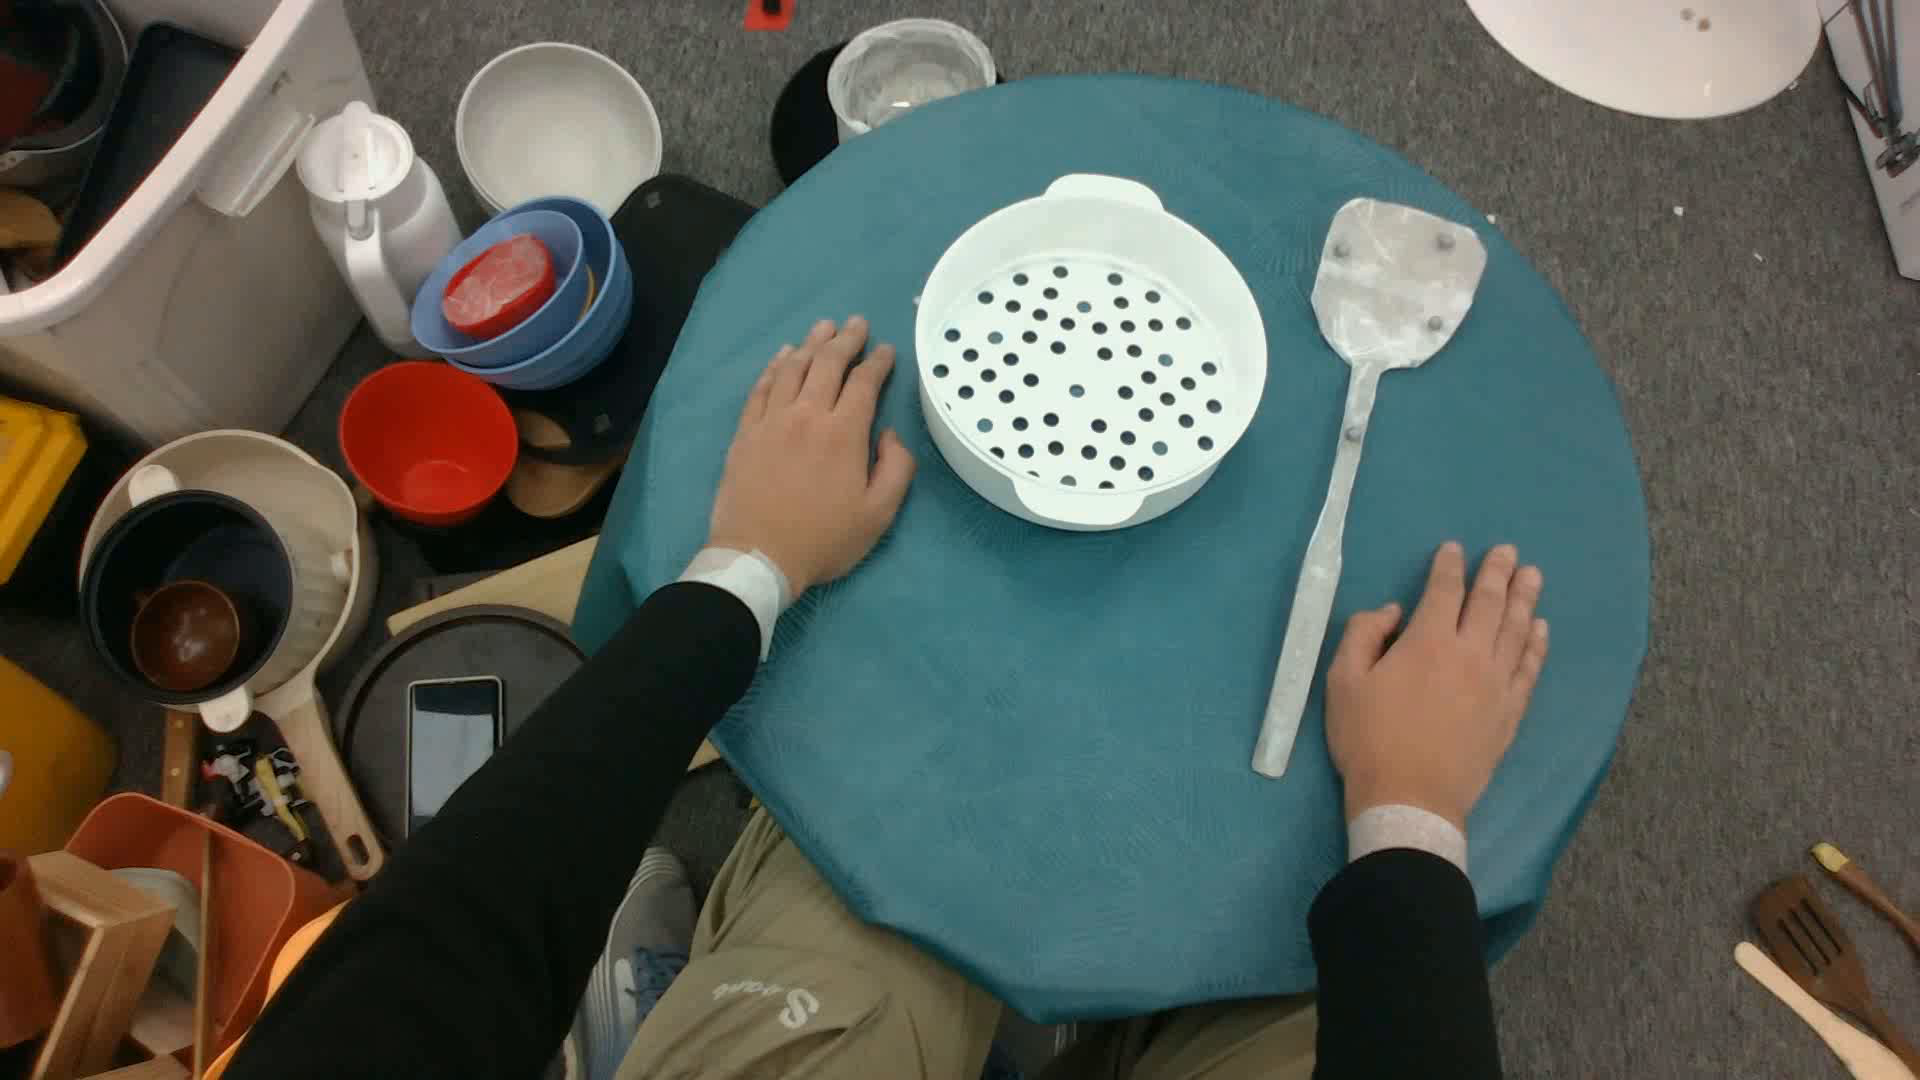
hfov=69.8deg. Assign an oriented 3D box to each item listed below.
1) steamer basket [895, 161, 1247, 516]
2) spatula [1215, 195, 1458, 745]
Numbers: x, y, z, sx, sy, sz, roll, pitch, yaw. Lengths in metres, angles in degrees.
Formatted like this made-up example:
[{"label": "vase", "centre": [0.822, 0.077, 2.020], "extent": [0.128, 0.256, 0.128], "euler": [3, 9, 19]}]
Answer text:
[{"label": "steamer basket", "centre": [0.062, -0.111, 0.809], "extent": [0.202, 0.069, 0.231], "euler": [8, 67, -1]}, {"label": "spatula", "centre": [0.212, -0.047, 0.814], "extent": [0.099, 0.044, 0.366], "euler": [20, 66, 1]}]
